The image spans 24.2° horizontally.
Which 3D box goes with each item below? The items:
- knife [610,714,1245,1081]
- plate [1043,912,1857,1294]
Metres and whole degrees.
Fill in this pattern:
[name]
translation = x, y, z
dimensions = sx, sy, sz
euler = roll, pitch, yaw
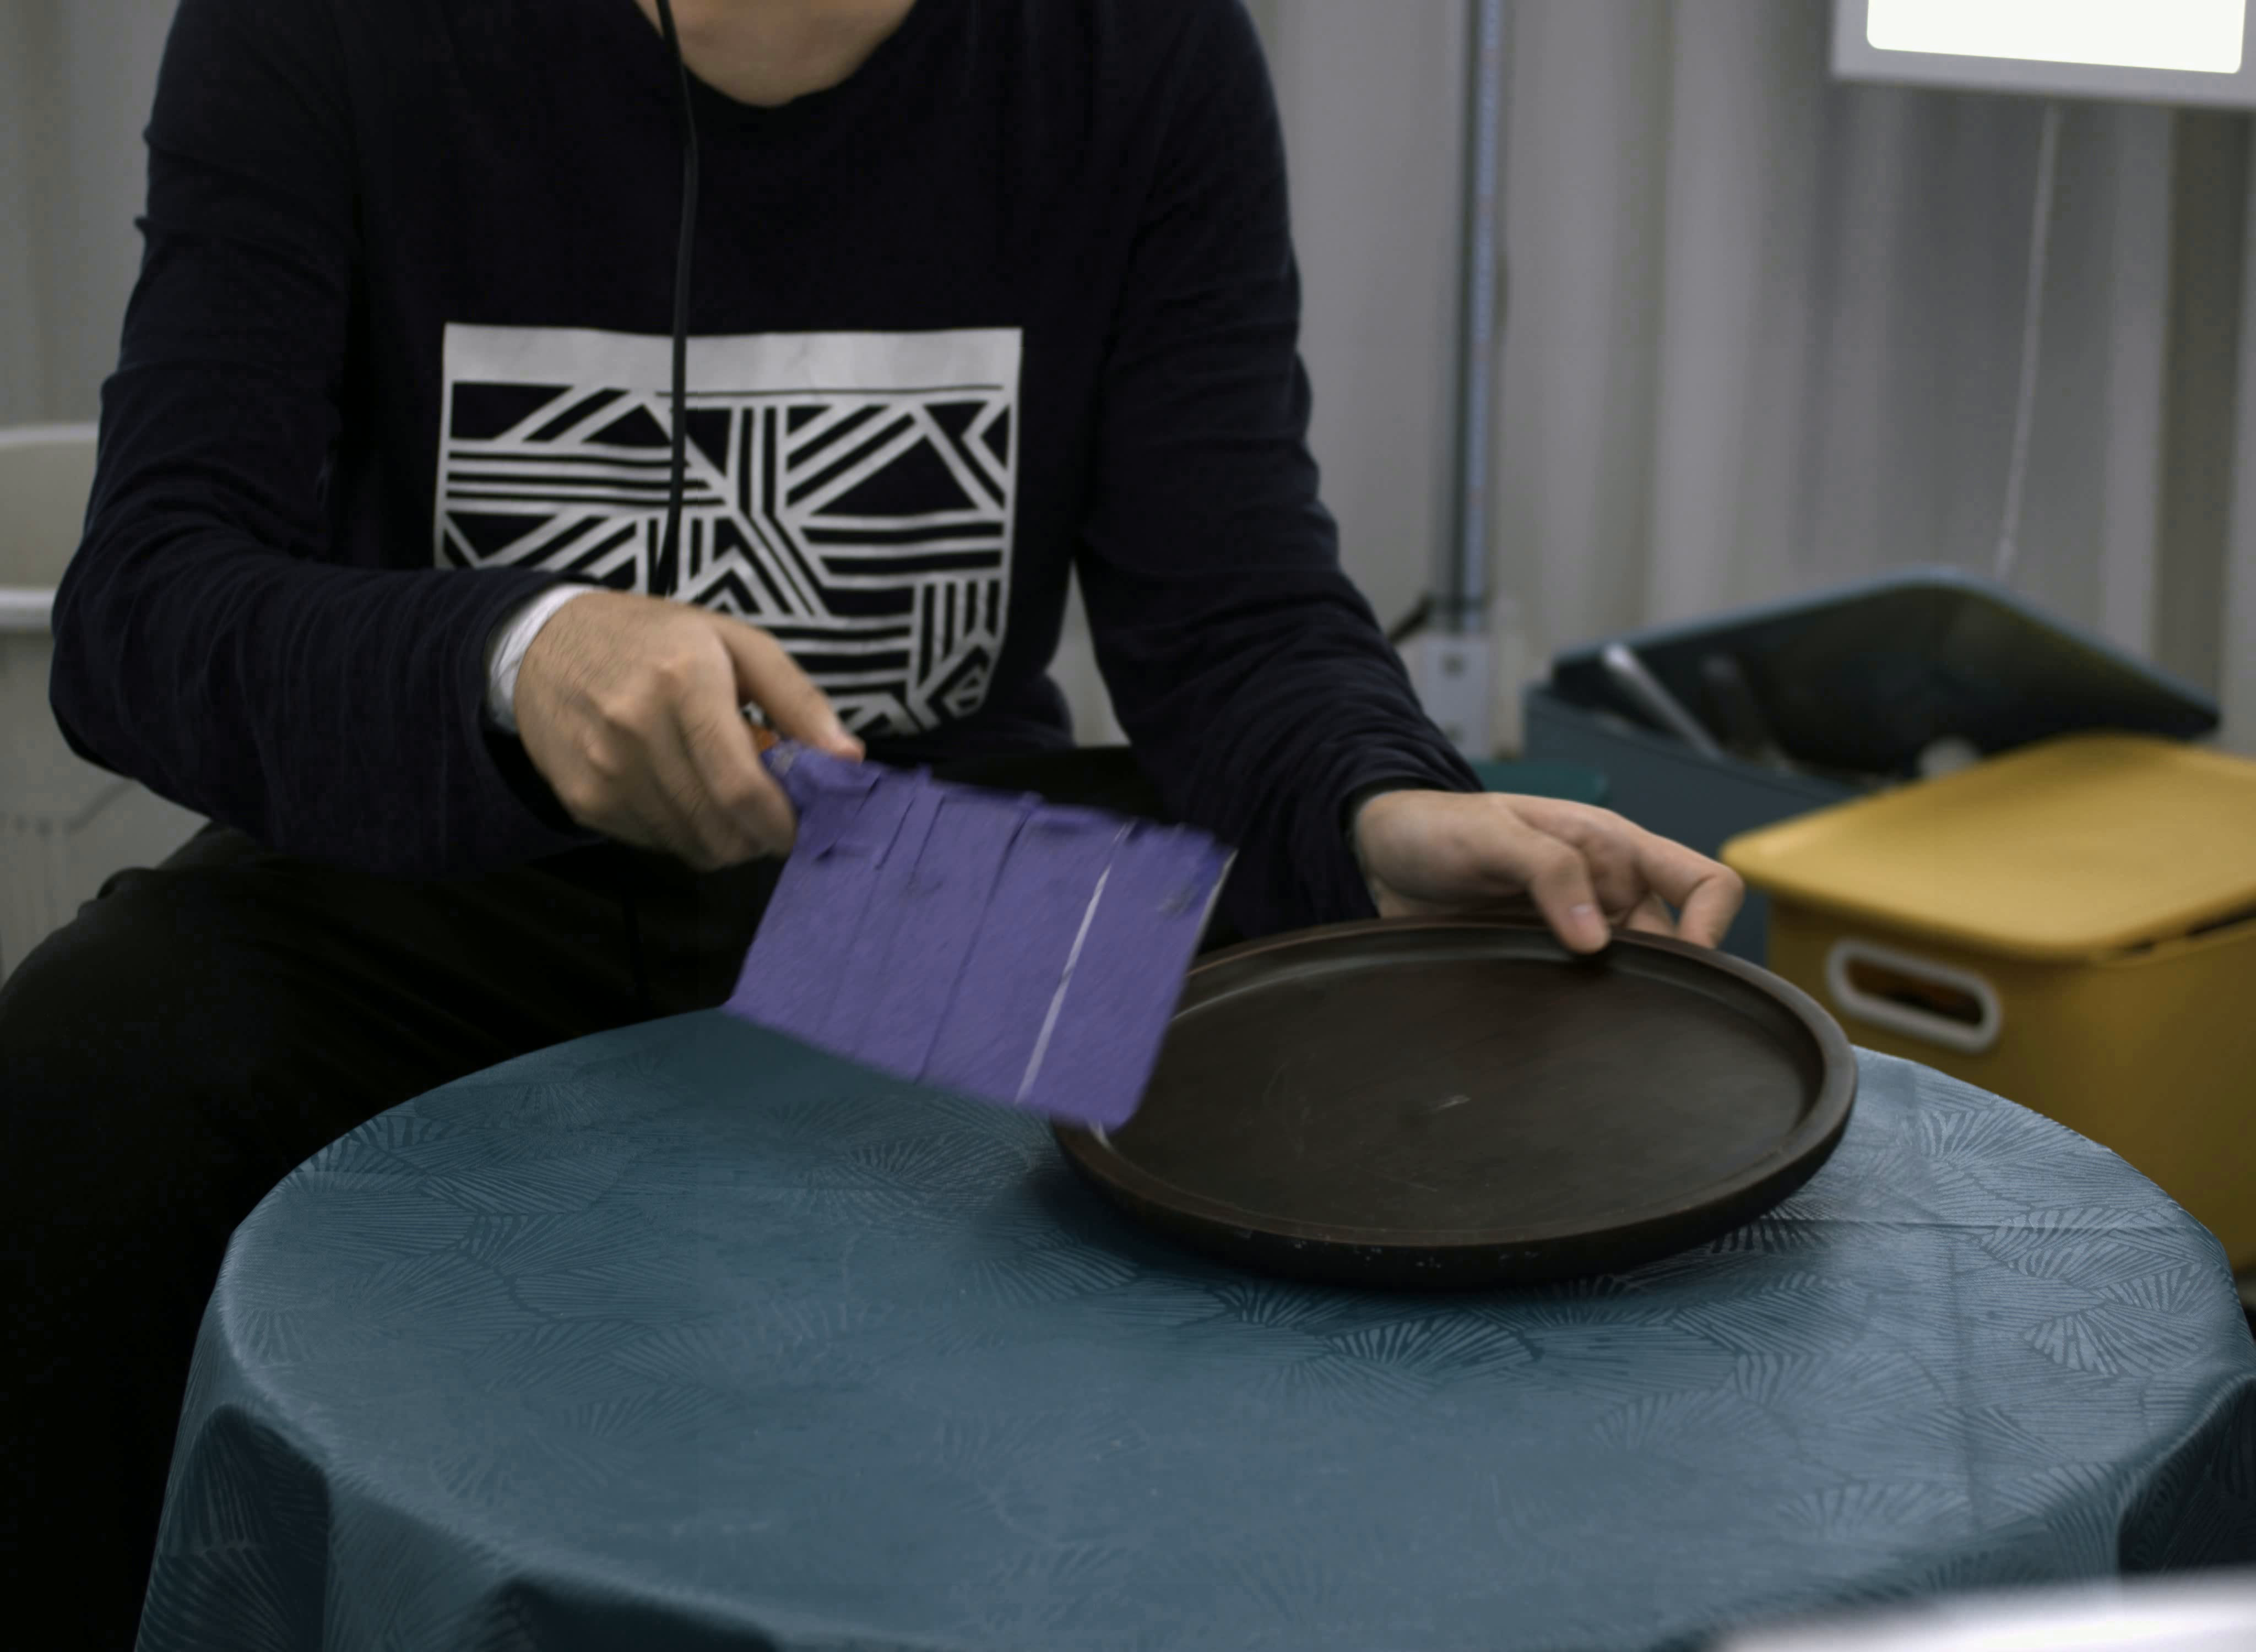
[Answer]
[knife]
translation = -0.079, 0.020, 1.632
dimensions = 0.032, 0.104, 0.311
euler = 27, -11, -36
[plate]
translation = 0.100, 0.084, 1.639
dimensions = 0.254, 0.029, 0.253
euler = -2, 23, 1
